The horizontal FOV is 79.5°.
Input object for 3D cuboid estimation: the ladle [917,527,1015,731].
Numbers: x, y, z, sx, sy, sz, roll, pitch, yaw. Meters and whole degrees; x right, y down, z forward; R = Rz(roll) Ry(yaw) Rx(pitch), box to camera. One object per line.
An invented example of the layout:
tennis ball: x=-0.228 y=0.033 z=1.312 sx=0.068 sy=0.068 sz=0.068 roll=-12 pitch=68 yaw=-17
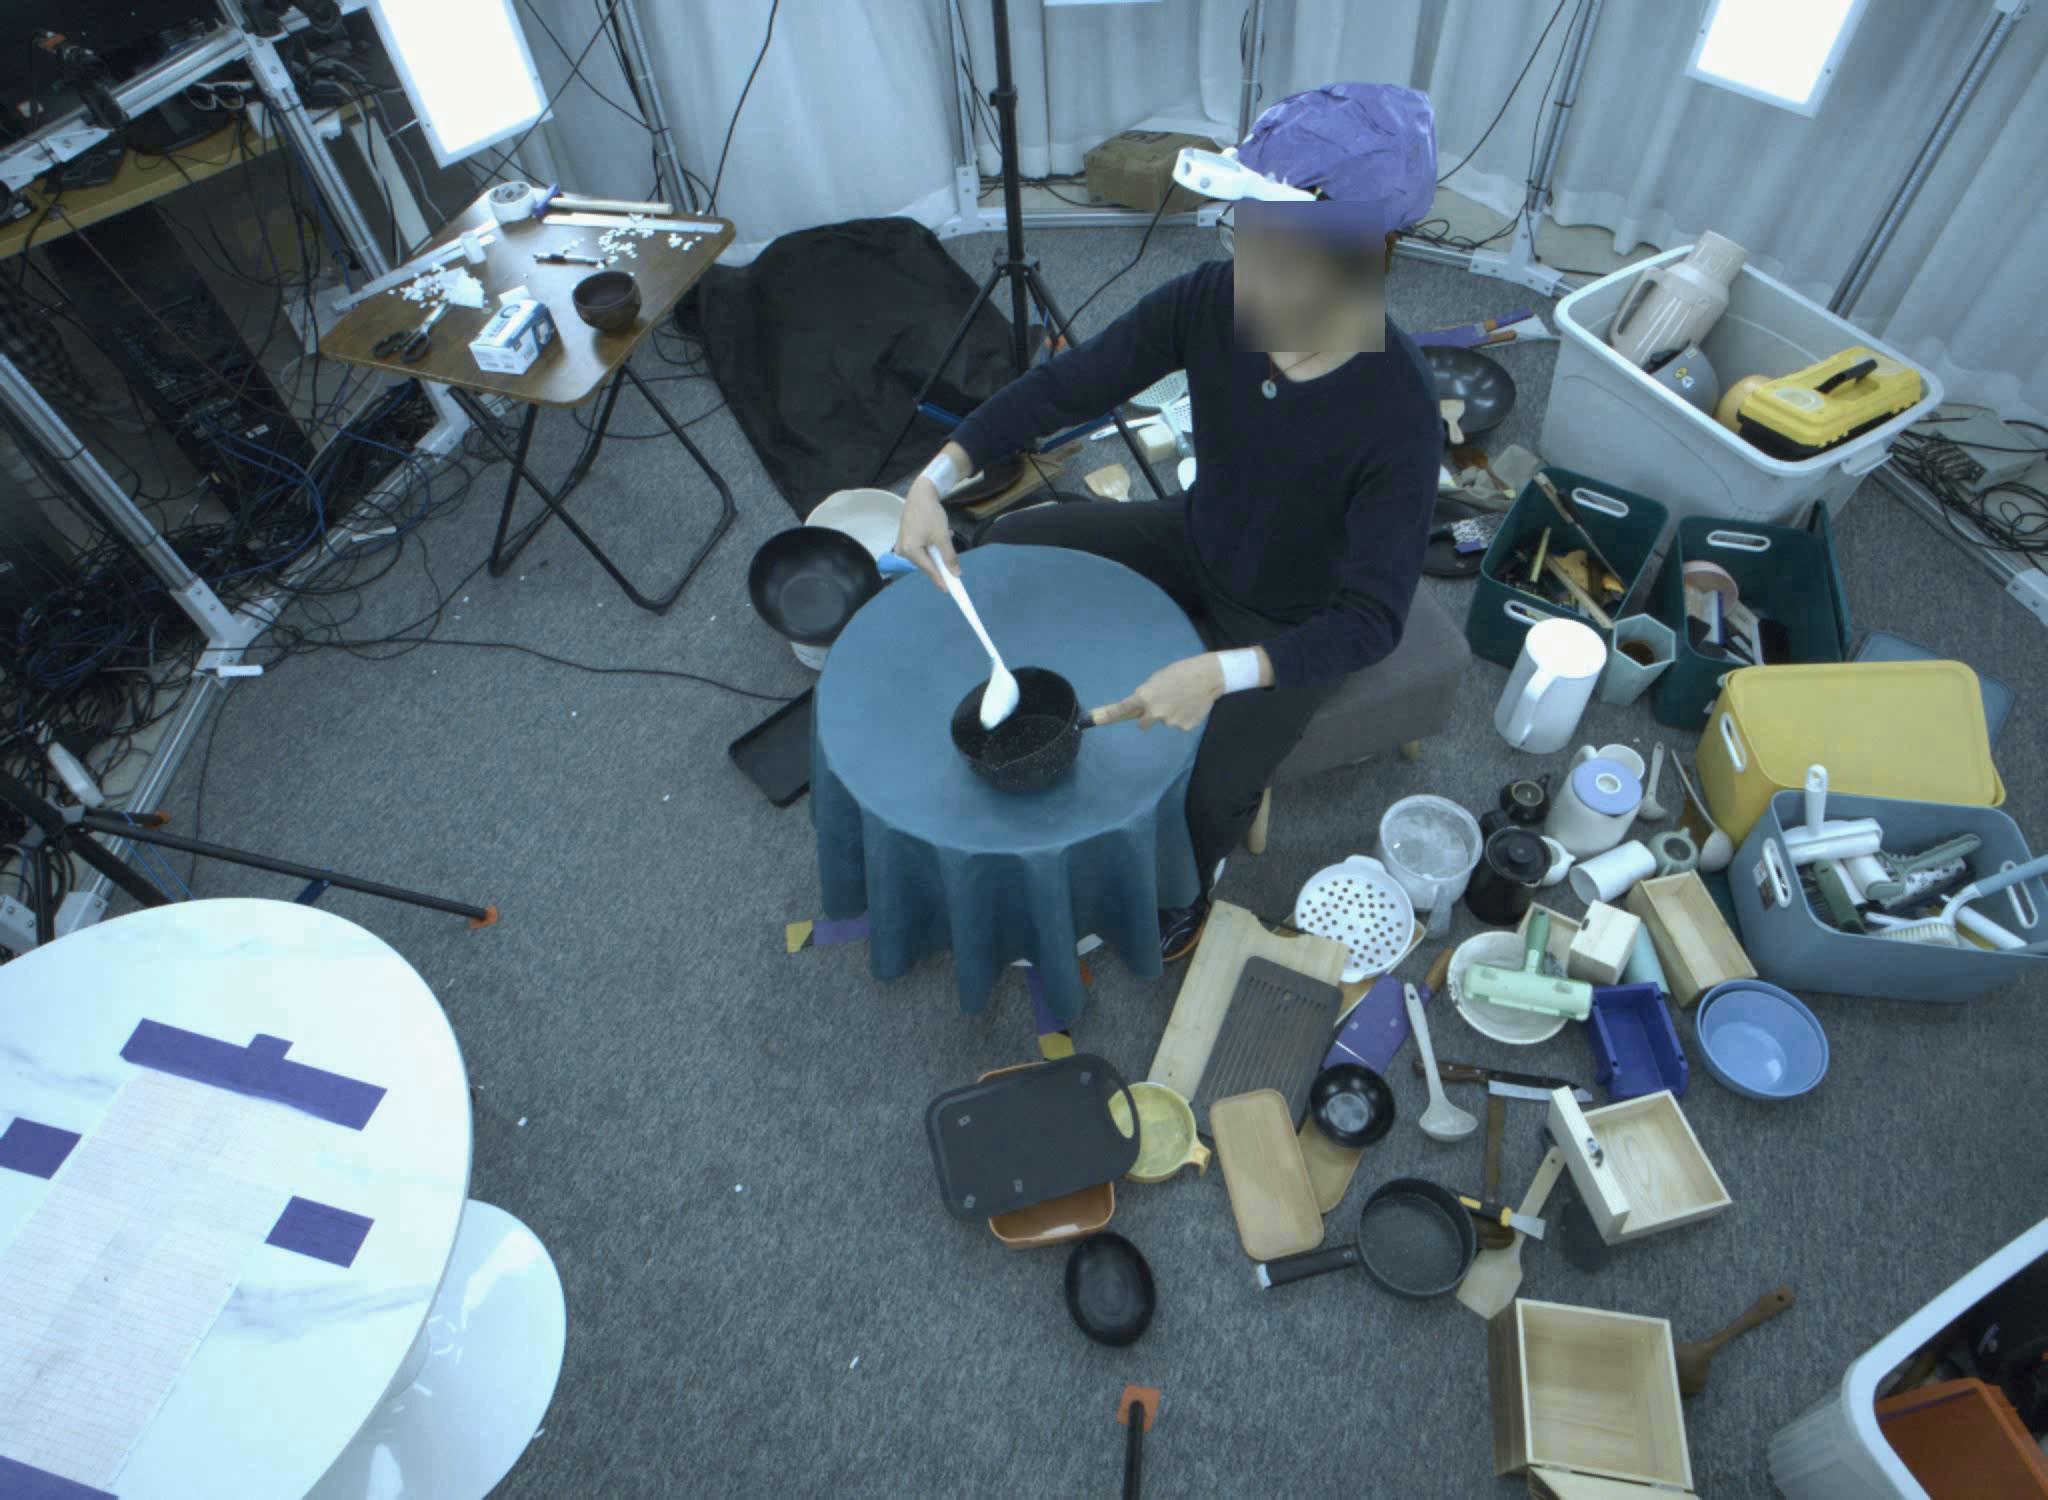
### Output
ladle: x=-0.091 y=-0.172 z=1.739 sx=0.070 sy=0.089 sz=0.294 roll=-28 pitch=96 yaw=-18

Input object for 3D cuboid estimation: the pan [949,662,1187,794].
pan: x=0.066 y=-0.034 z=1.700 sx=0.338 sy=0.110 sz=0.206 roll=-4 pitch=47 yaw=19
